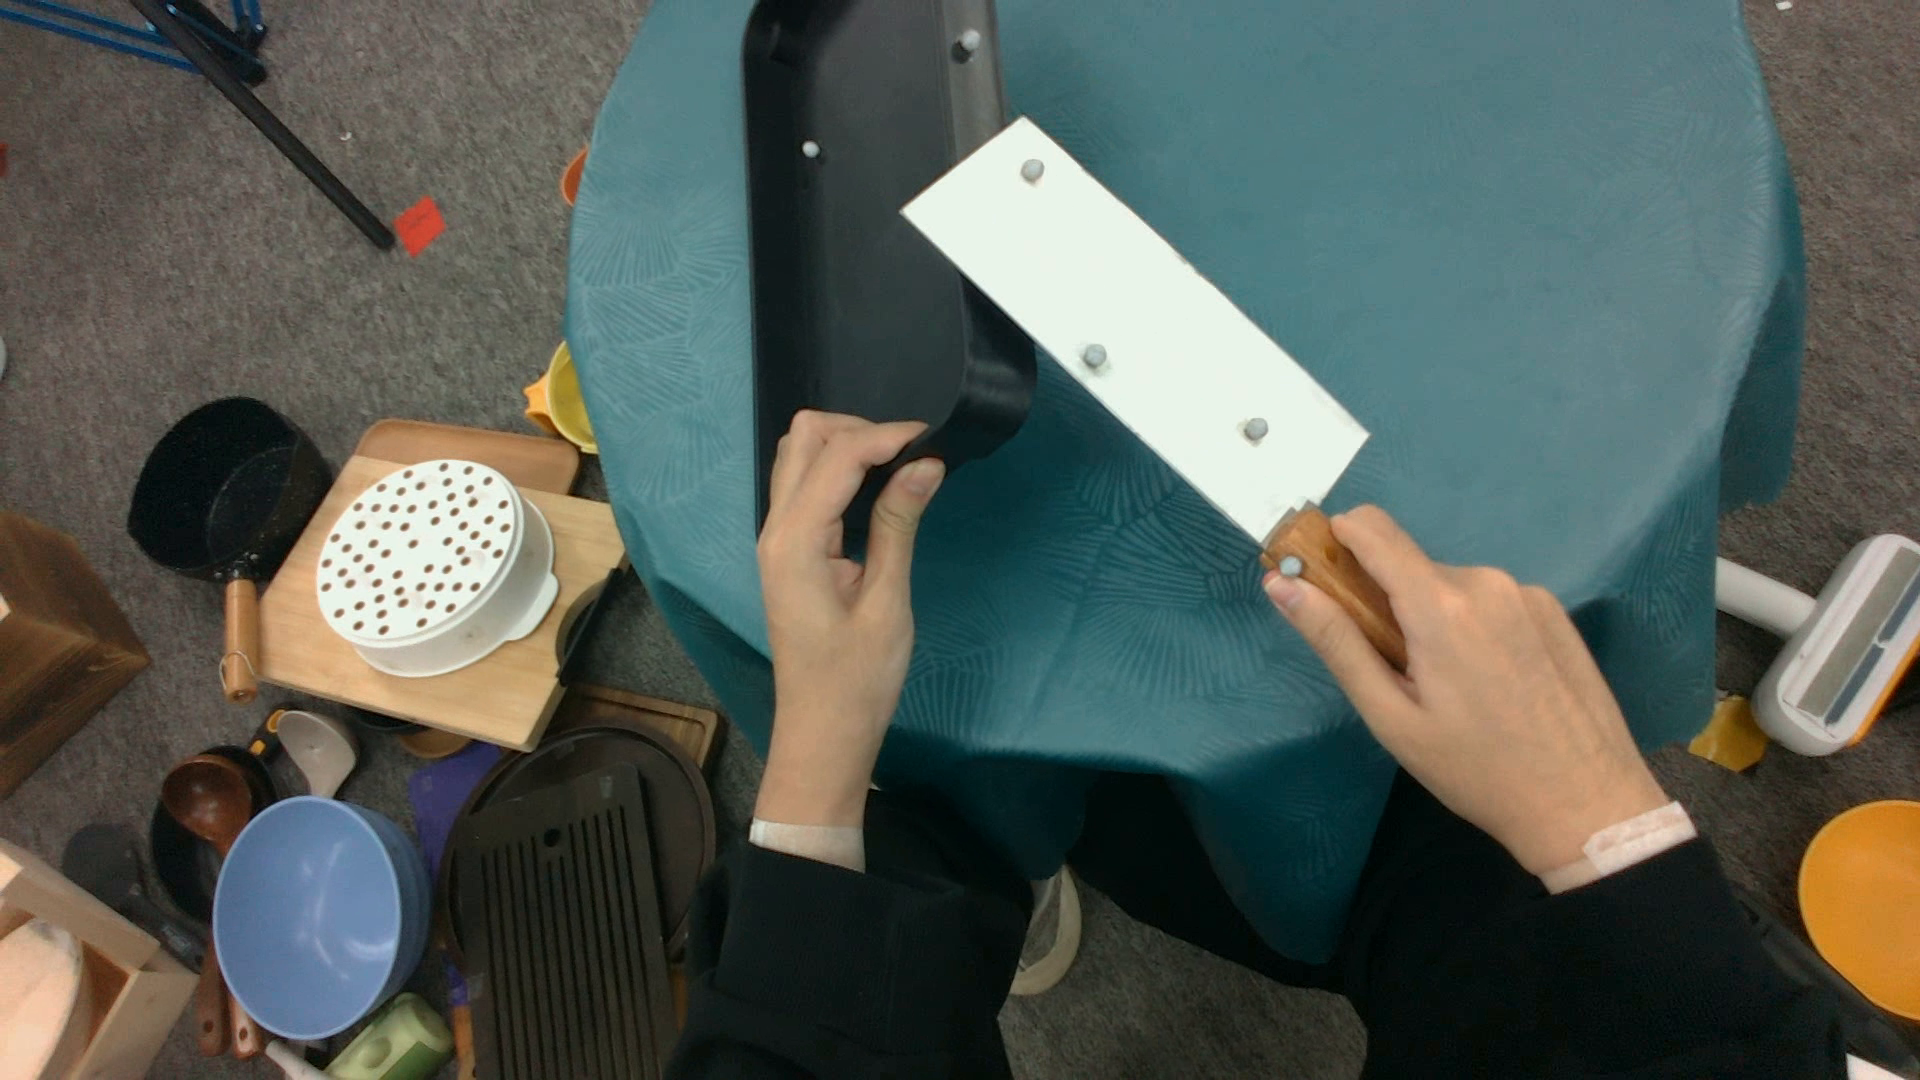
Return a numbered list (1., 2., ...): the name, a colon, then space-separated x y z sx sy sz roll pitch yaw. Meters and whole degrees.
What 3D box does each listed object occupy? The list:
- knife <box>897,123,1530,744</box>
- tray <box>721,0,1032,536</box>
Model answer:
1. knife: 0.109 -0.049 0.532 0.306 0.021 0.093 42 54 -1
2. tray: -0.050 -0.173 0.629 0.183 0.037 0.319 -35 54 47
